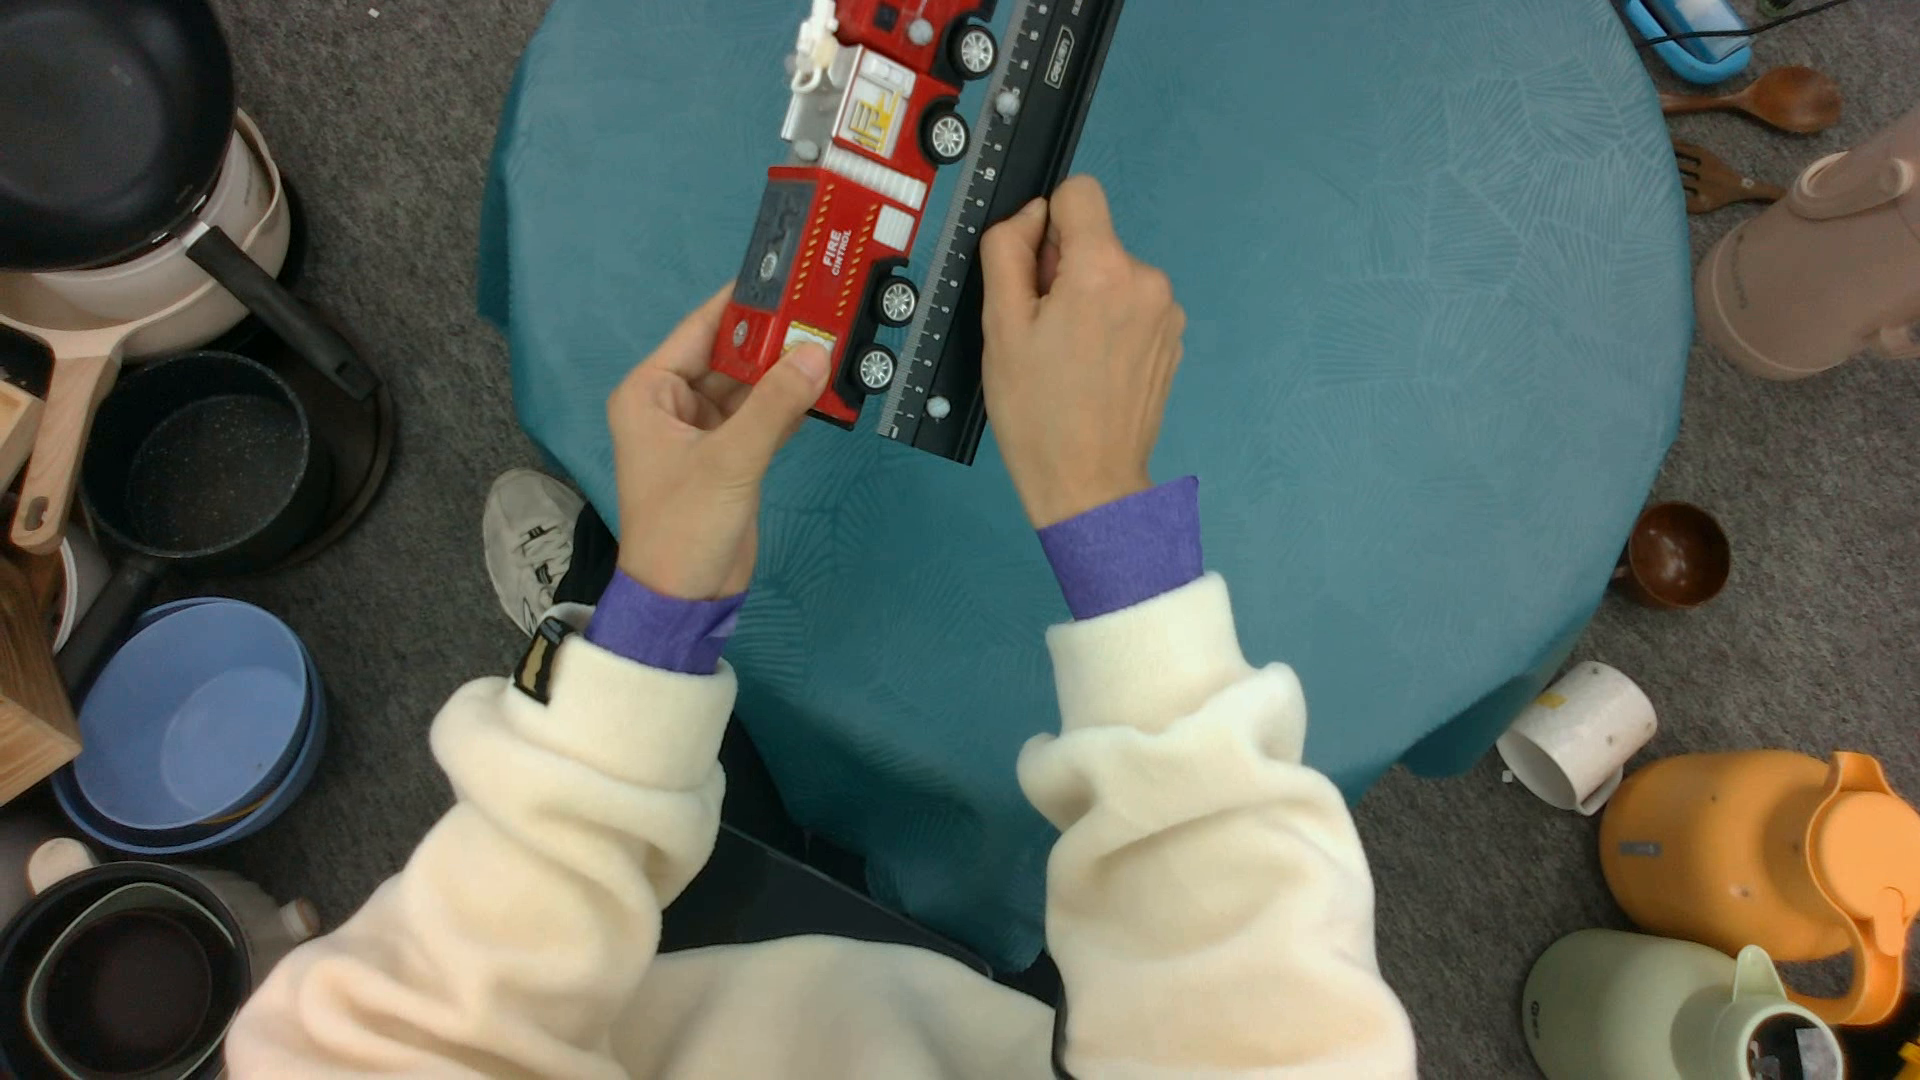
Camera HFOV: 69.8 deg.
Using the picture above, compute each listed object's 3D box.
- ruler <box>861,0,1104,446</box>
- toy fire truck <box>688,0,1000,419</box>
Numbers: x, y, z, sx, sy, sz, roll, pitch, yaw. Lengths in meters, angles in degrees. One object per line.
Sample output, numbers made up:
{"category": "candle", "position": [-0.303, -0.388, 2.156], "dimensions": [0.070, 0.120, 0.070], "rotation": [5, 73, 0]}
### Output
{"category": "ruler", "position": [0.033, -0.185, 0.486], "dimensions": [0.039, 0.017, 0.312], "rotation": [18, 92, -23]}
{"category": "toy fire truck", "position": [-0.043, -0.130, 0.488], "dimensions": [0.070, 0.054, 0.168], "rotation": [14, 96, -35]}
